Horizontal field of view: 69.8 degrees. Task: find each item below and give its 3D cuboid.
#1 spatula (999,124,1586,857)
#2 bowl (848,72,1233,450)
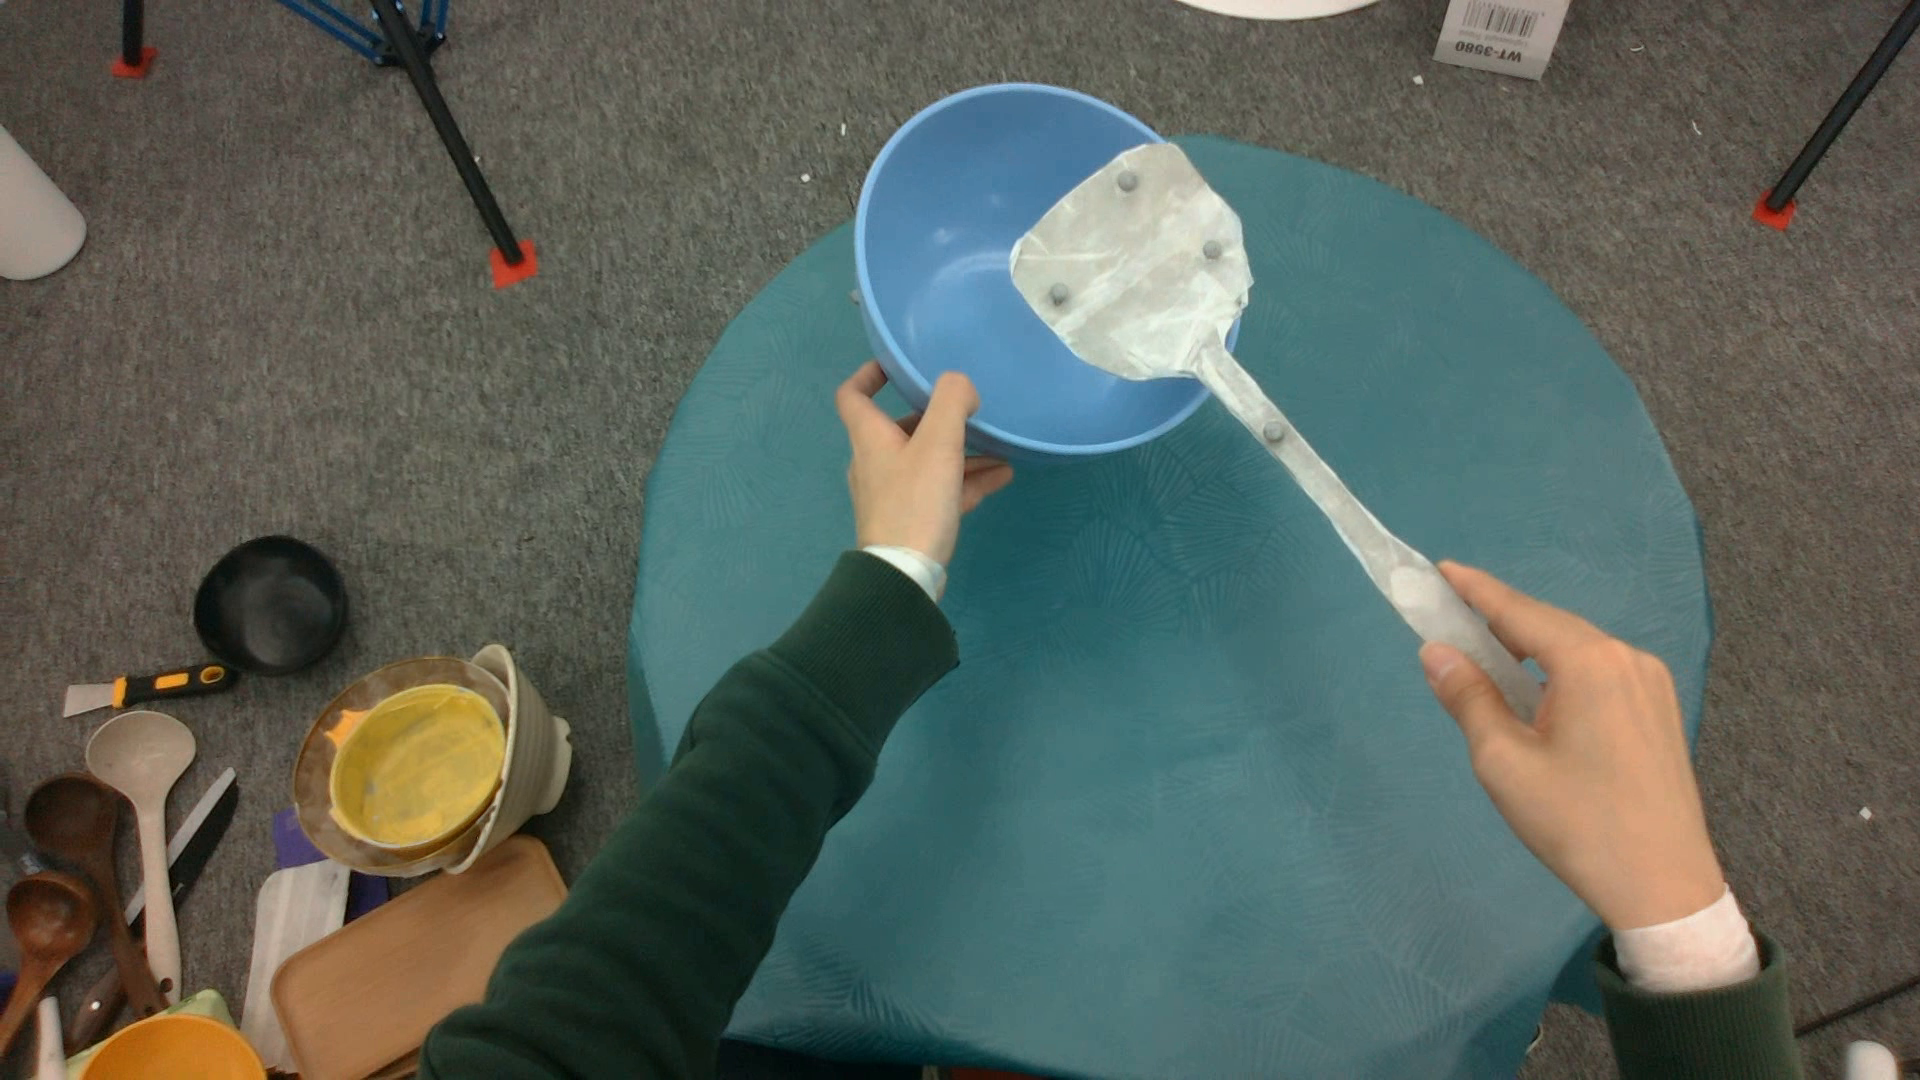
[{"bbox_3d":[0.135,-0.035,0.560,0.098,0.044,0.366,-34,57,5],"label":"spatula"},{"bbox_3d":[0.030,-0.127,0.702,0.197,0.095,0.197,5,70,-16],"label":"bowl"}]
